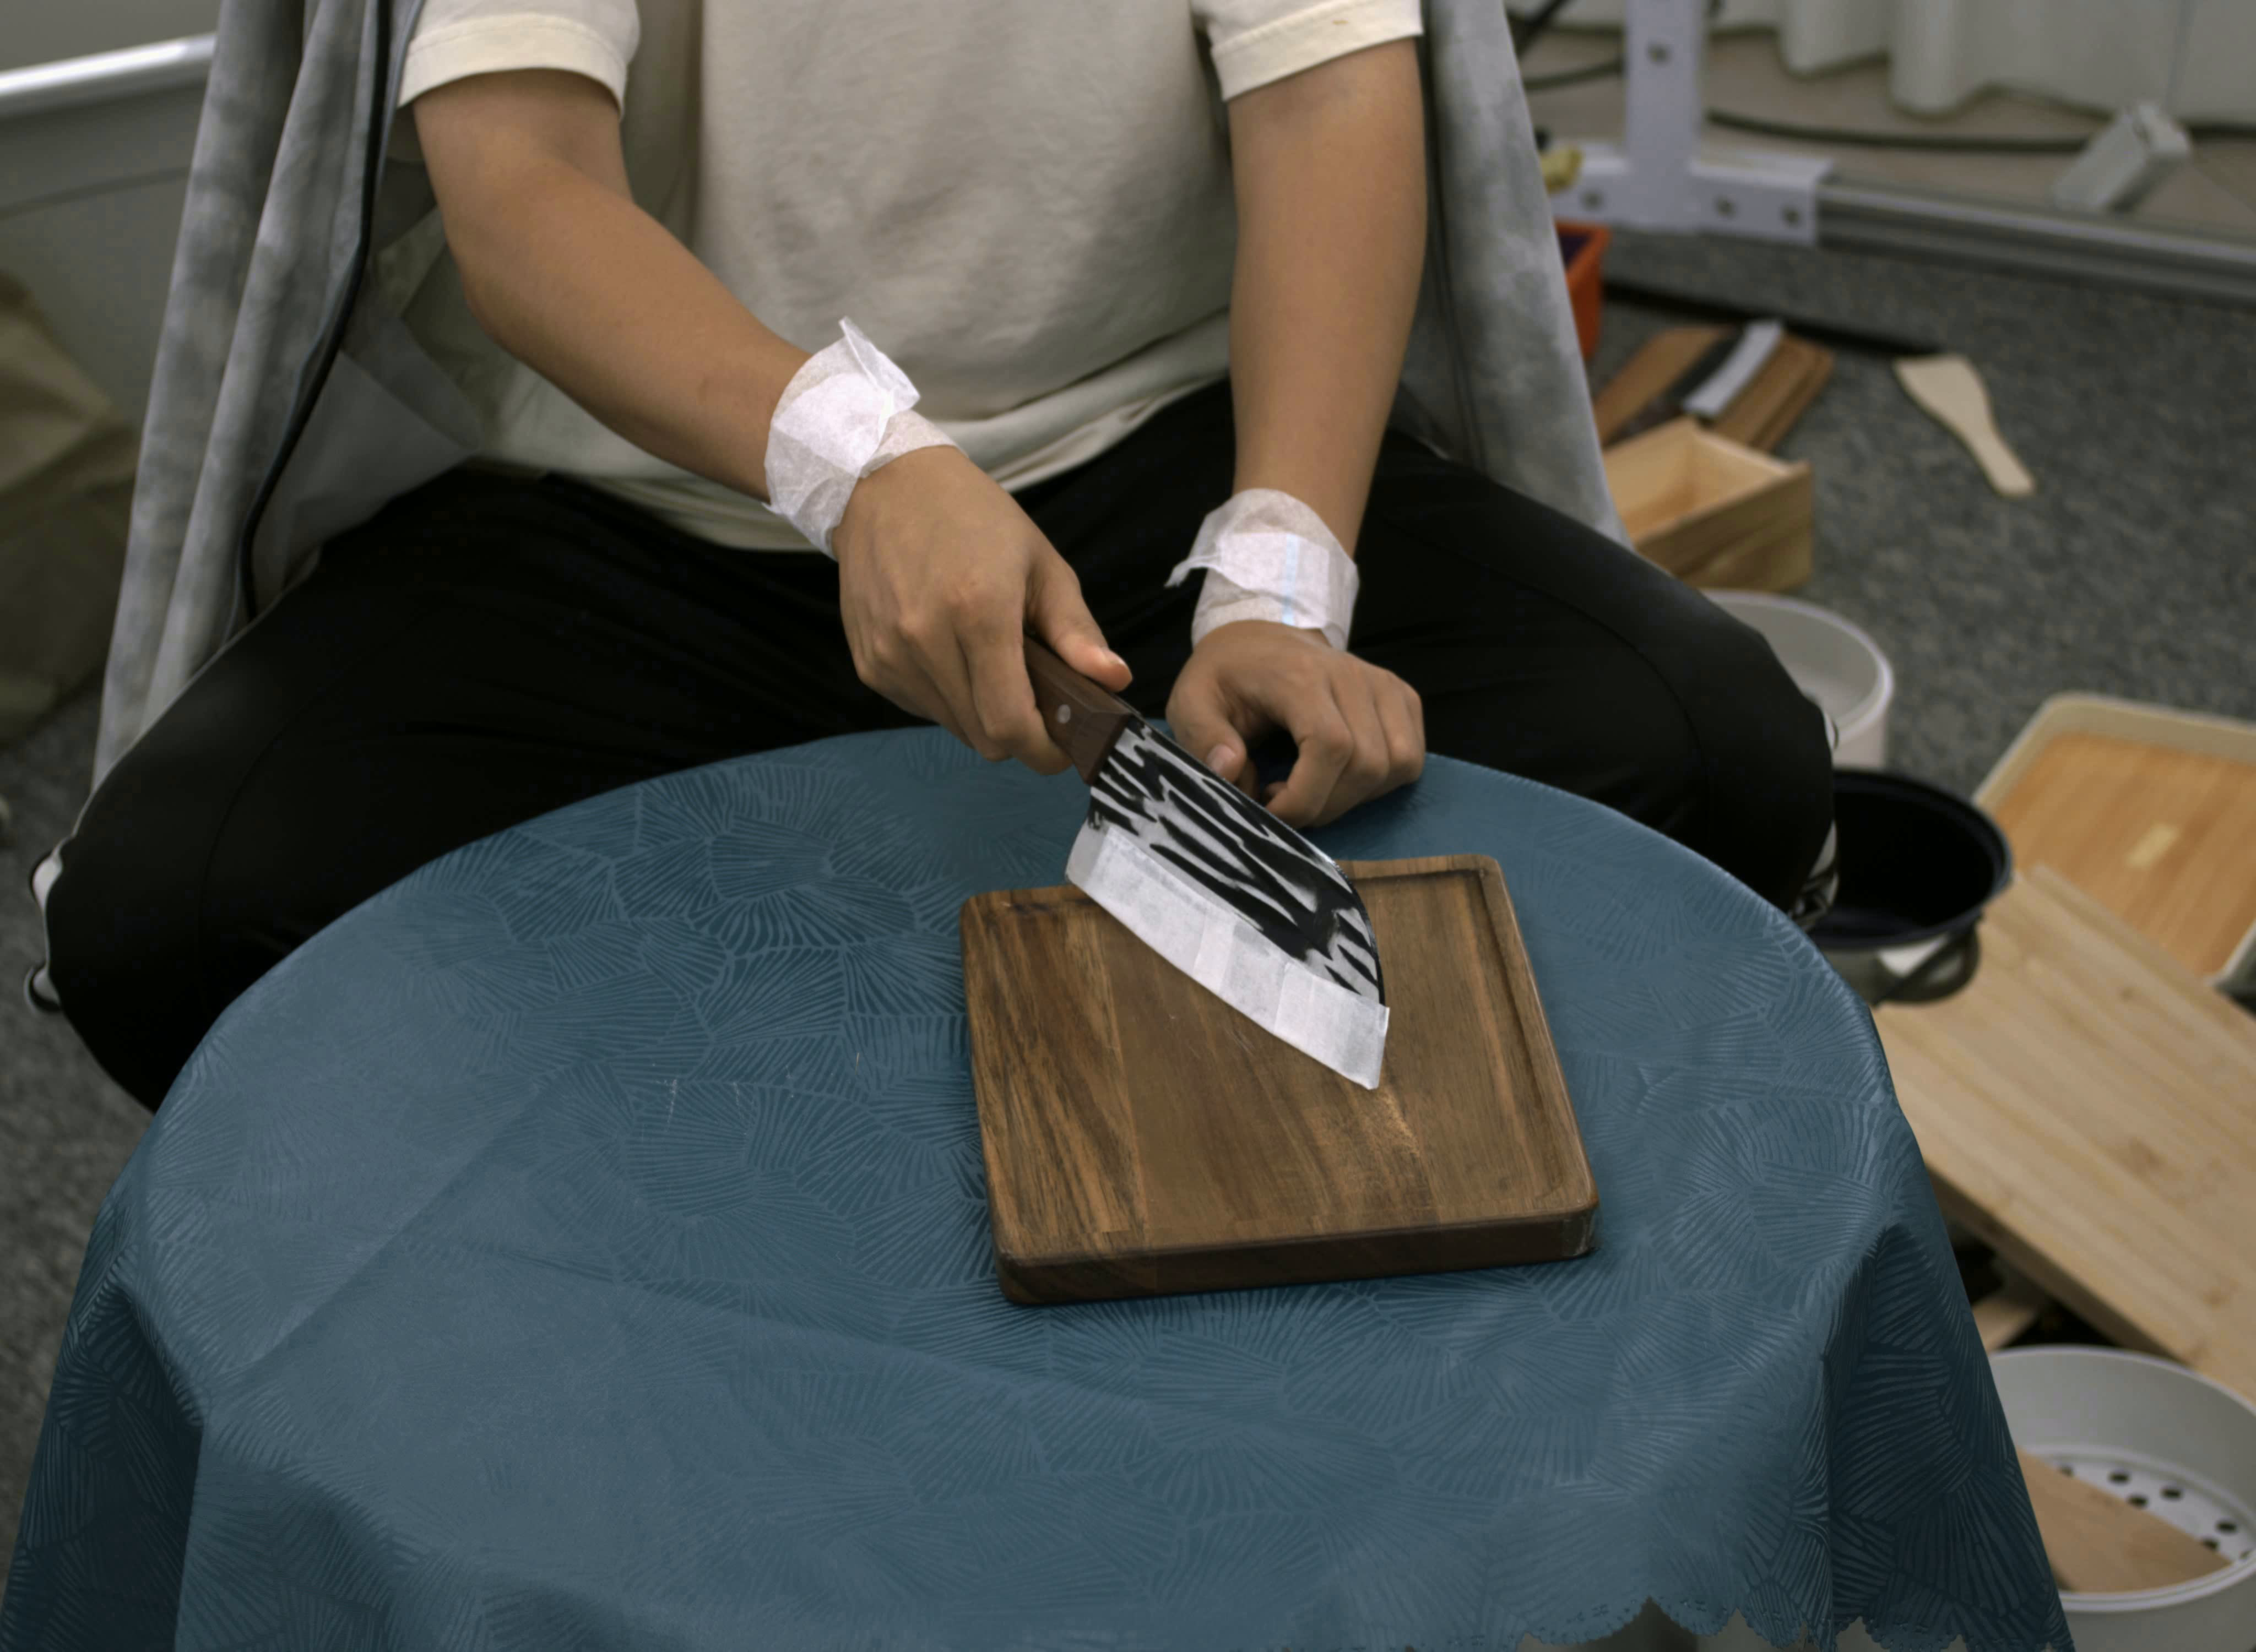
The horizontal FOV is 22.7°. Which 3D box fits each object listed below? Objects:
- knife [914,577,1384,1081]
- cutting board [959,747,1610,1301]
[{"bbox_3d":[0.005,-0.002,1.978,0.024,0.067,0.301,8,21,-42],"label":"knife"},{"bbox_3d":[0.044,0.058,1.956,0.200,0.023,0.357,-4,27,-3],"label":"cutting board"}]
